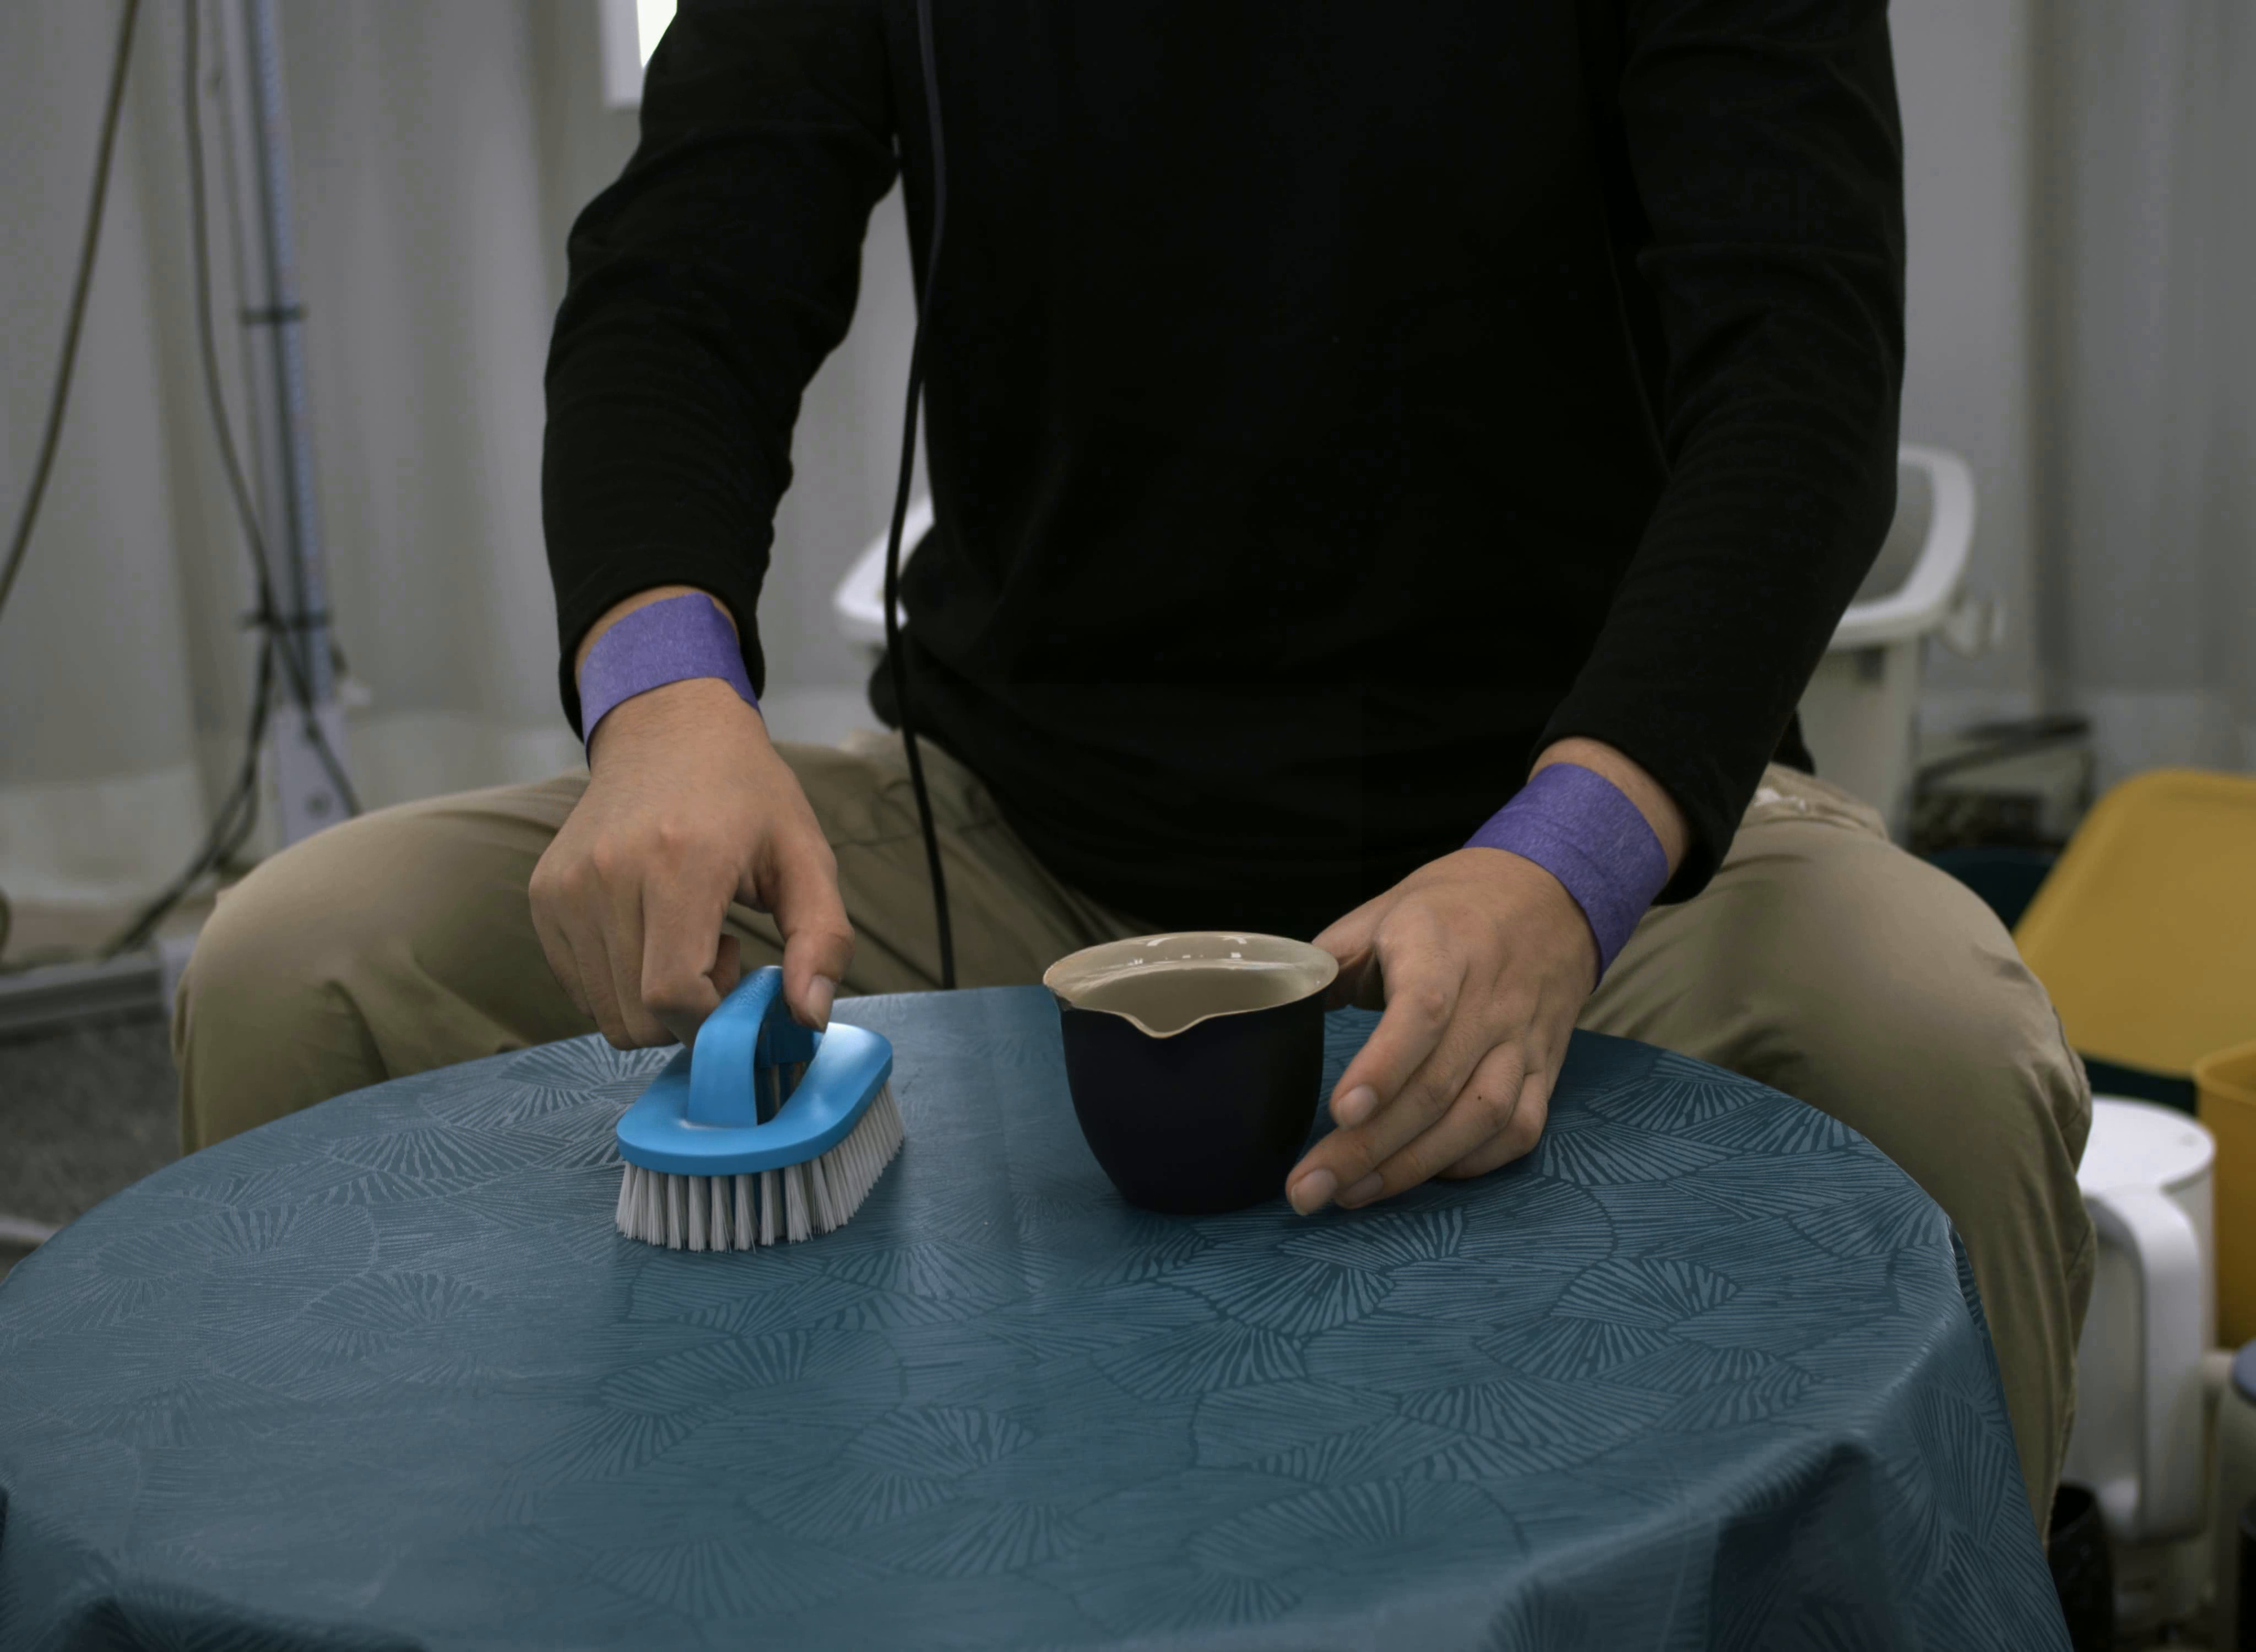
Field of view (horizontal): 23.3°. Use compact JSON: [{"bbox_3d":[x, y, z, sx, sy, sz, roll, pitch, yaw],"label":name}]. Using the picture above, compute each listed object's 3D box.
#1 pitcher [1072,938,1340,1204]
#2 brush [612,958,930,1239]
[{"bbox_3d":[0.024,0.078,1.703,0.083,0.071,0.096,3,17,17],"label":"pitcher"},{"bbox_3d":[-0.115,0.081,1.737,0.084,0.063,0.142,-4,13,13],"label":"brush"}]
